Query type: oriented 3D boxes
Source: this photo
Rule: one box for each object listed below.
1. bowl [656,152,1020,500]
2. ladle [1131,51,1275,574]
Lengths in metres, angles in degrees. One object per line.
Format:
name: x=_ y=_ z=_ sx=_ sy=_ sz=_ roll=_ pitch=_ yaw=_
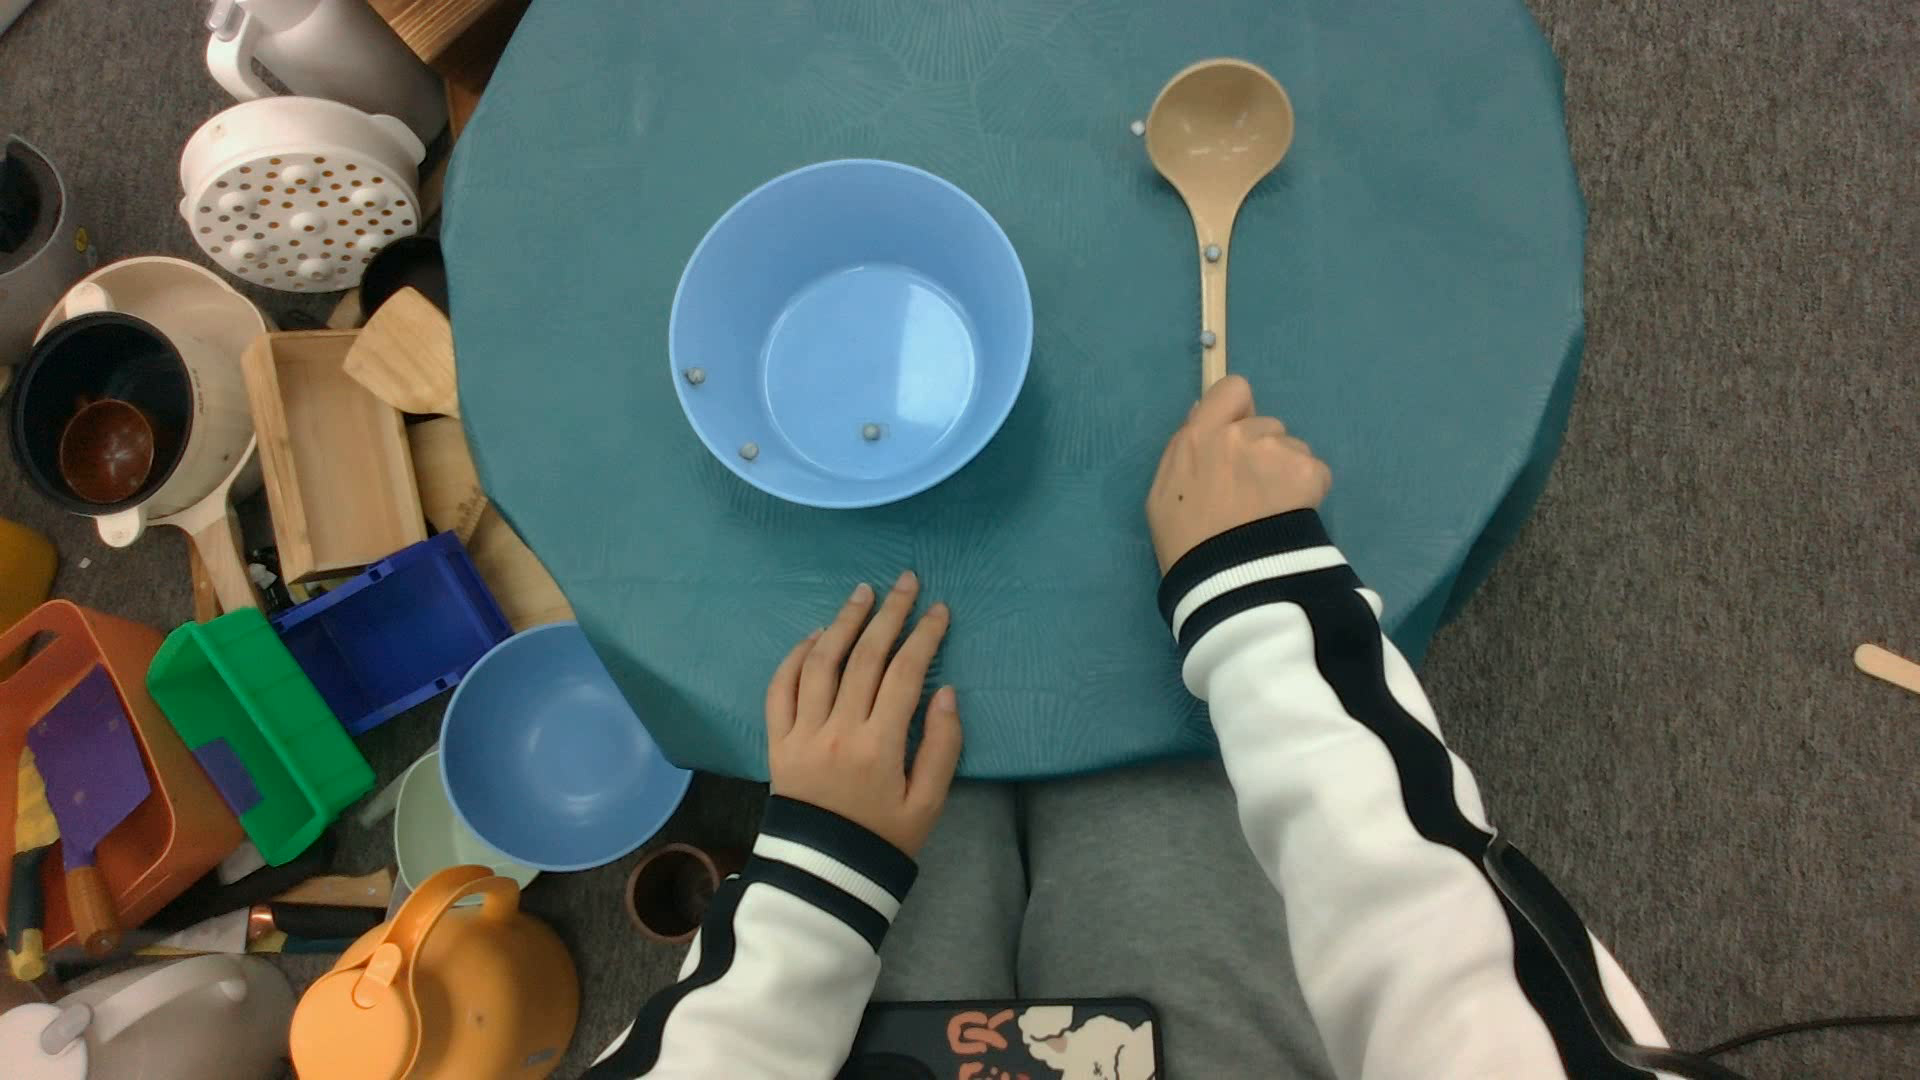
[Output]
bowl: x=-0.056 y=-0.098 z=0.686 sx=0.176 sy=0.070 sz=0.176 roll=-1 pitch=77 yaw=6
ladle: x=0.123 y=-0.114 z=0.673 sx=0.072 sy=0.072 sz=0.255 roll=-1 pitch=78 yaw=2
